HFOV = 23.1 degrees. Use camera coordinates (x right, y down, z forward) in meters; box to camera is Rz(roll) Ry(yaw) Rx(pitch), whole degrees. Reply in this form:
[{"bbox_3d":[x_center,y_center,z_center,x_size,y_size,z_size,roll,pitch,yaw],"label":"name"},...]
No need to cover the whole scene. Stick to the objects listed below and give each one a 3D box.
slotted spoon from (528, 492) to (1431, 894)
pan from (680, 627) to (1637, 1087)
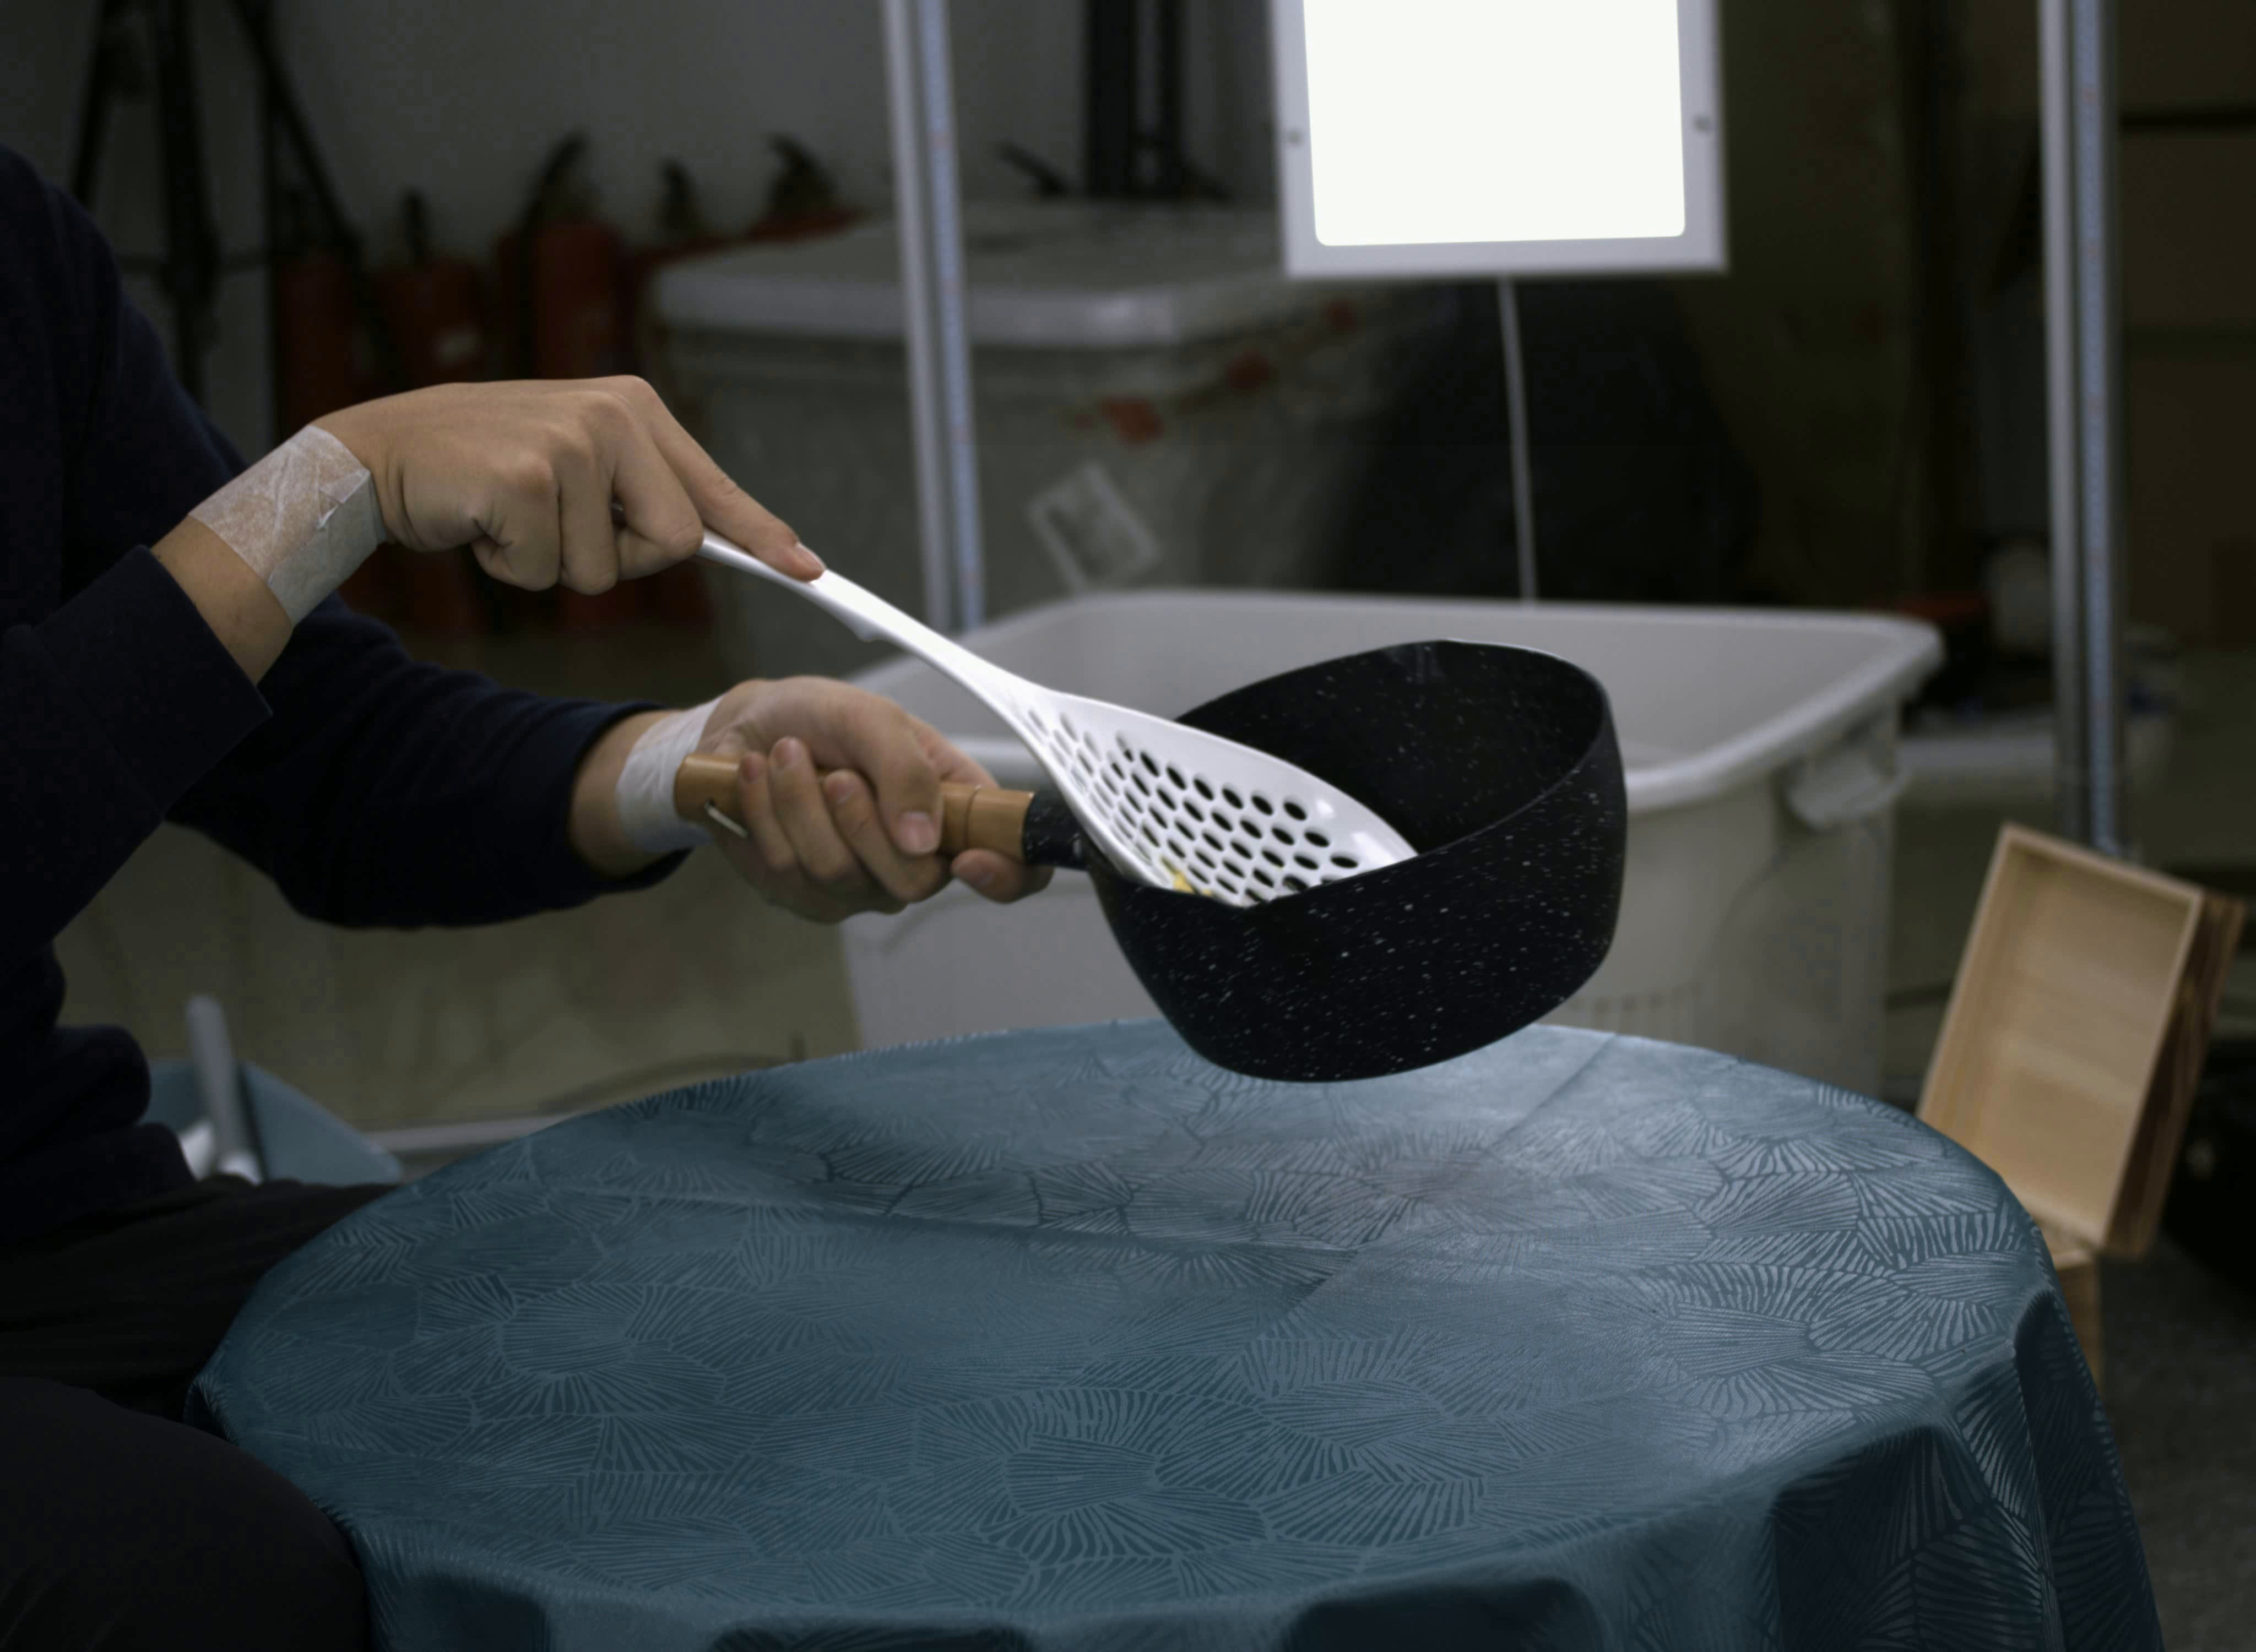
[{"bbox_3d":[-0.041,-0.036,1.849,0.345,0.051,0.135,33,28,-8],"label":"slotted spoon"},{"bbox_3d":[0.009,0.010,1.884,0.348,0.108,0.204,-4,26,24],"label":"pan"}]
